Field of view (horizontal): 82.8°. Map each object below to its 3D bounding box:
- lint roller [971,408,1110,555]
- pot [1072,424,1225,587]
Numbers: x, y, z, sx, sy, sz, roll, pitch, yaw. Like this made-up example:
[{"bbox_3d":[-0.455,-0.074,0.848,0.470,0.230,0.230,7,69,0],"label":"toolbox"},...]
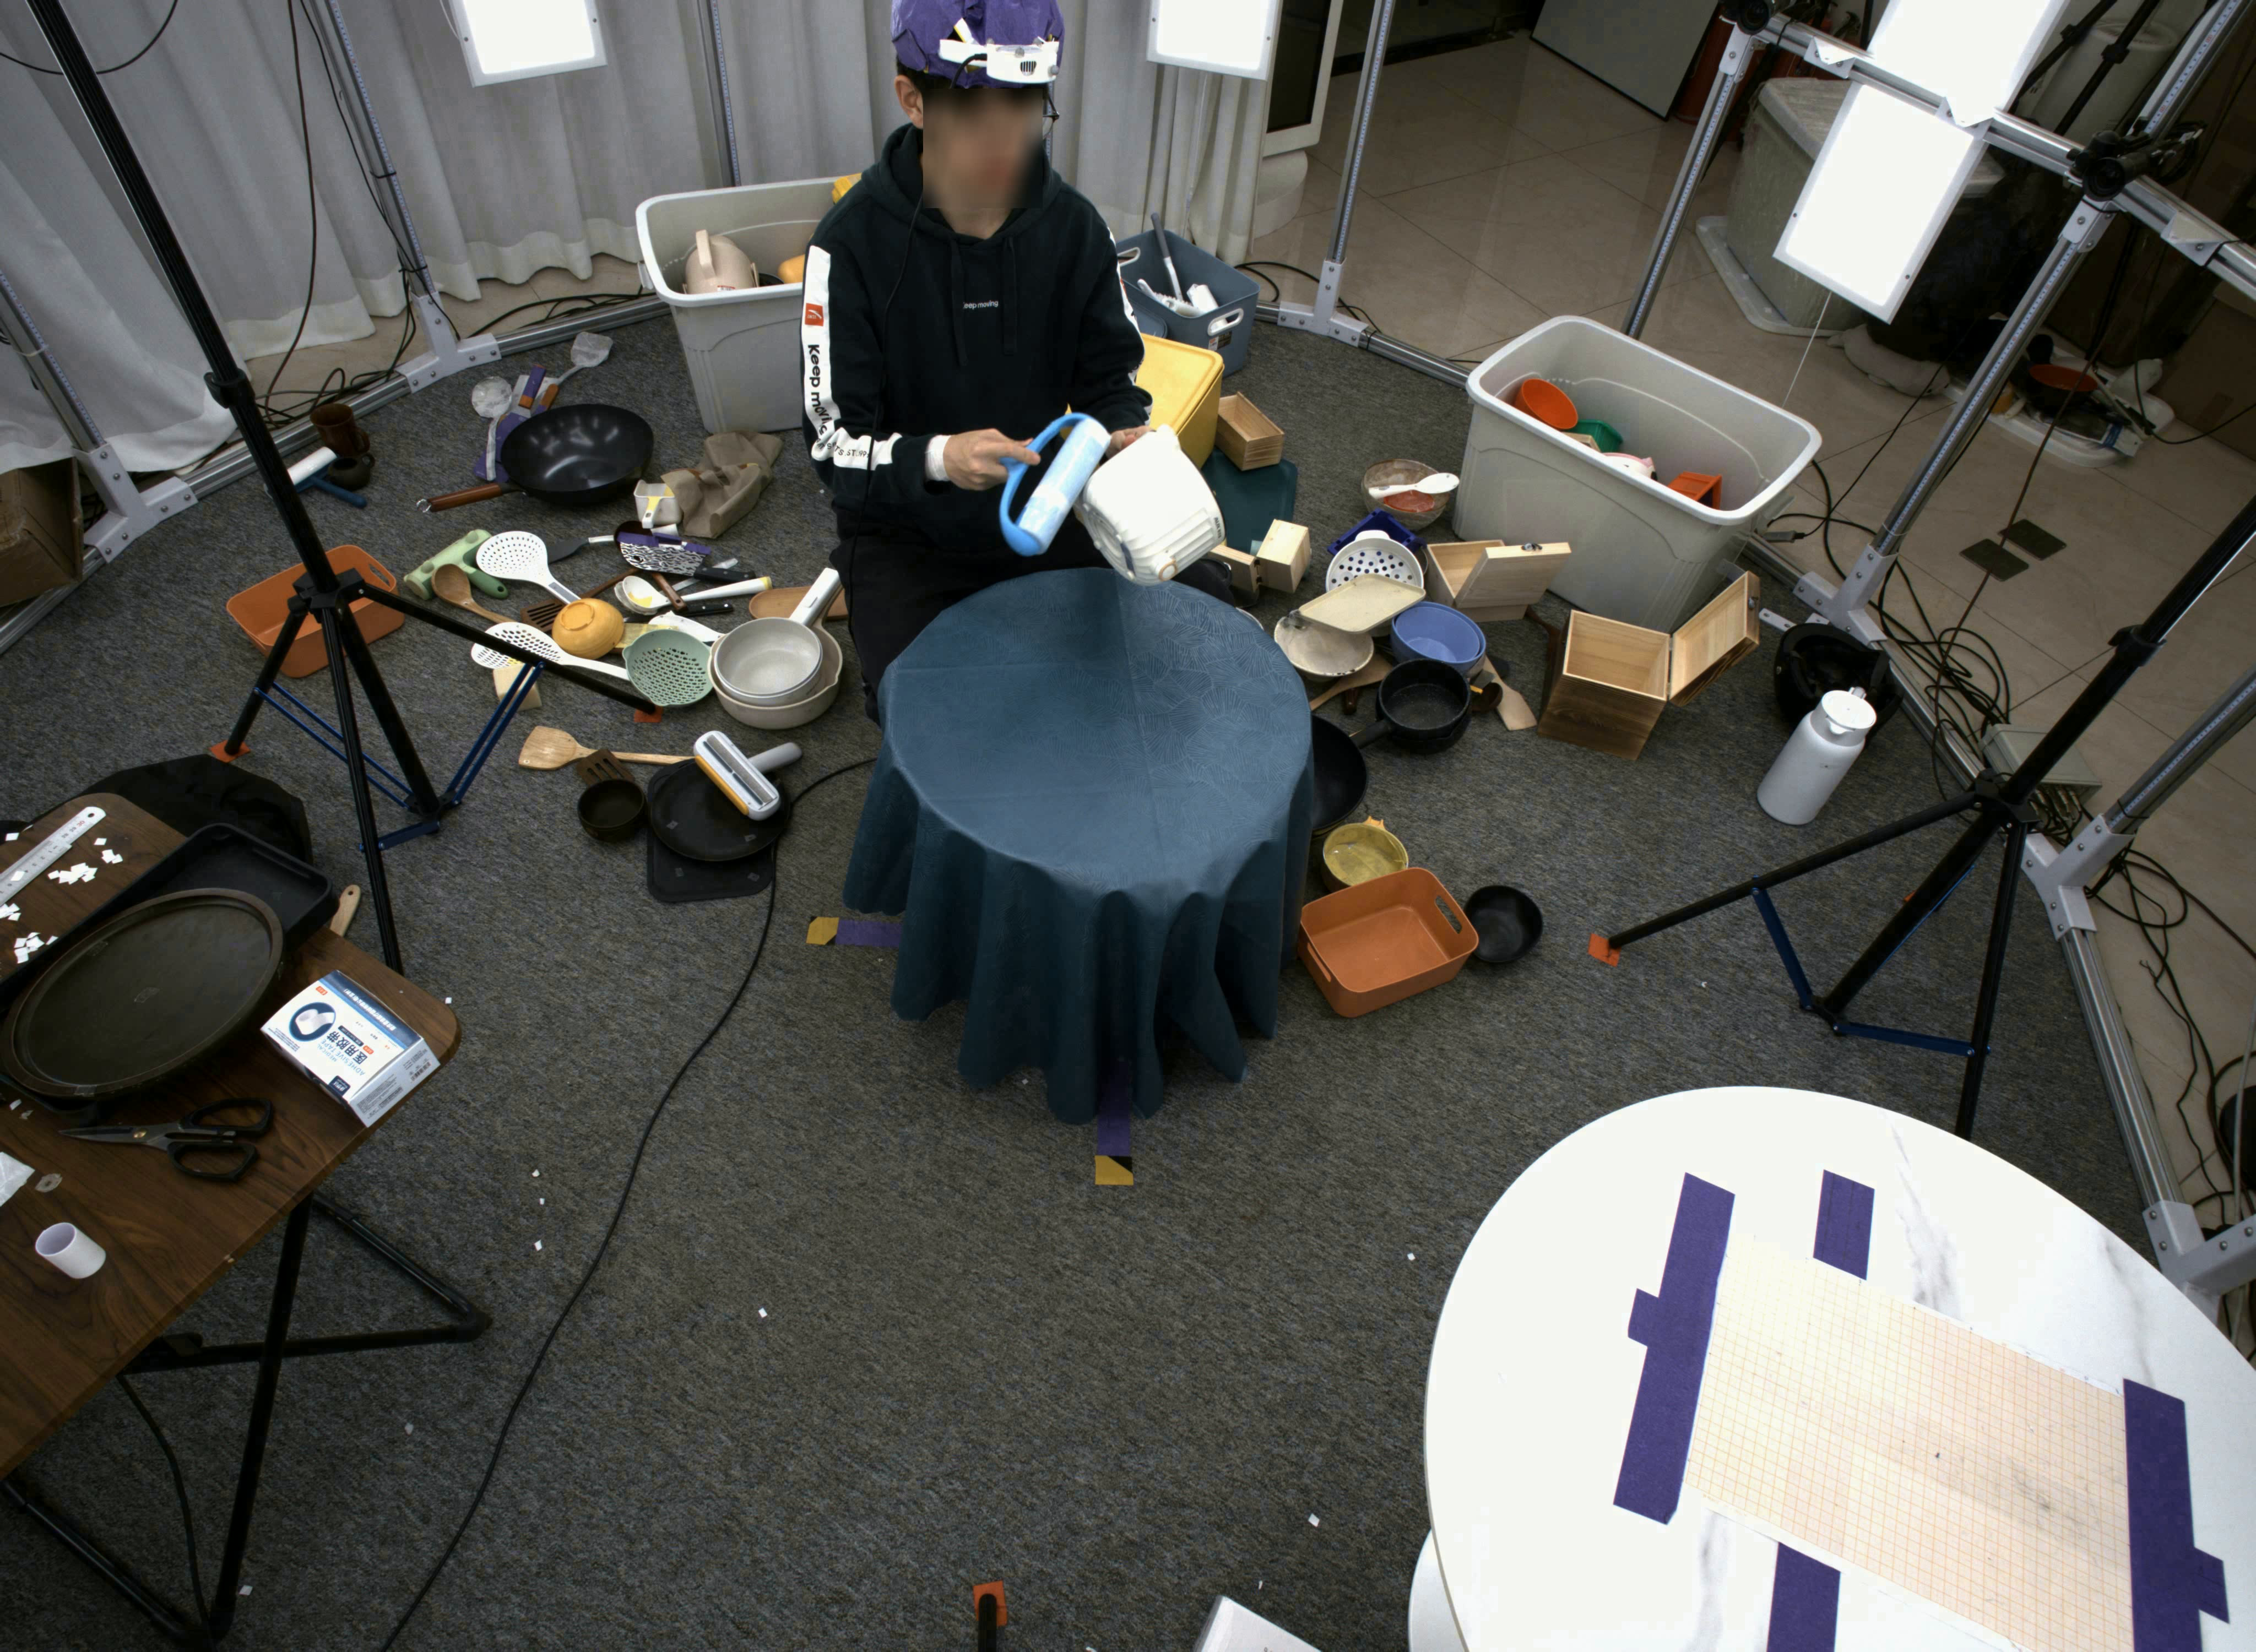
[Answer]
[{"bbox_3d":[-0.139,-0.470,1.733,0.181,0.066,0.232,14,67,20],"label":"lint roller"},{"bbox_3d":[0.028,-0.419,1.755,0.143,0.235,0.194,-40,61,-9],"label":"pot"}]
